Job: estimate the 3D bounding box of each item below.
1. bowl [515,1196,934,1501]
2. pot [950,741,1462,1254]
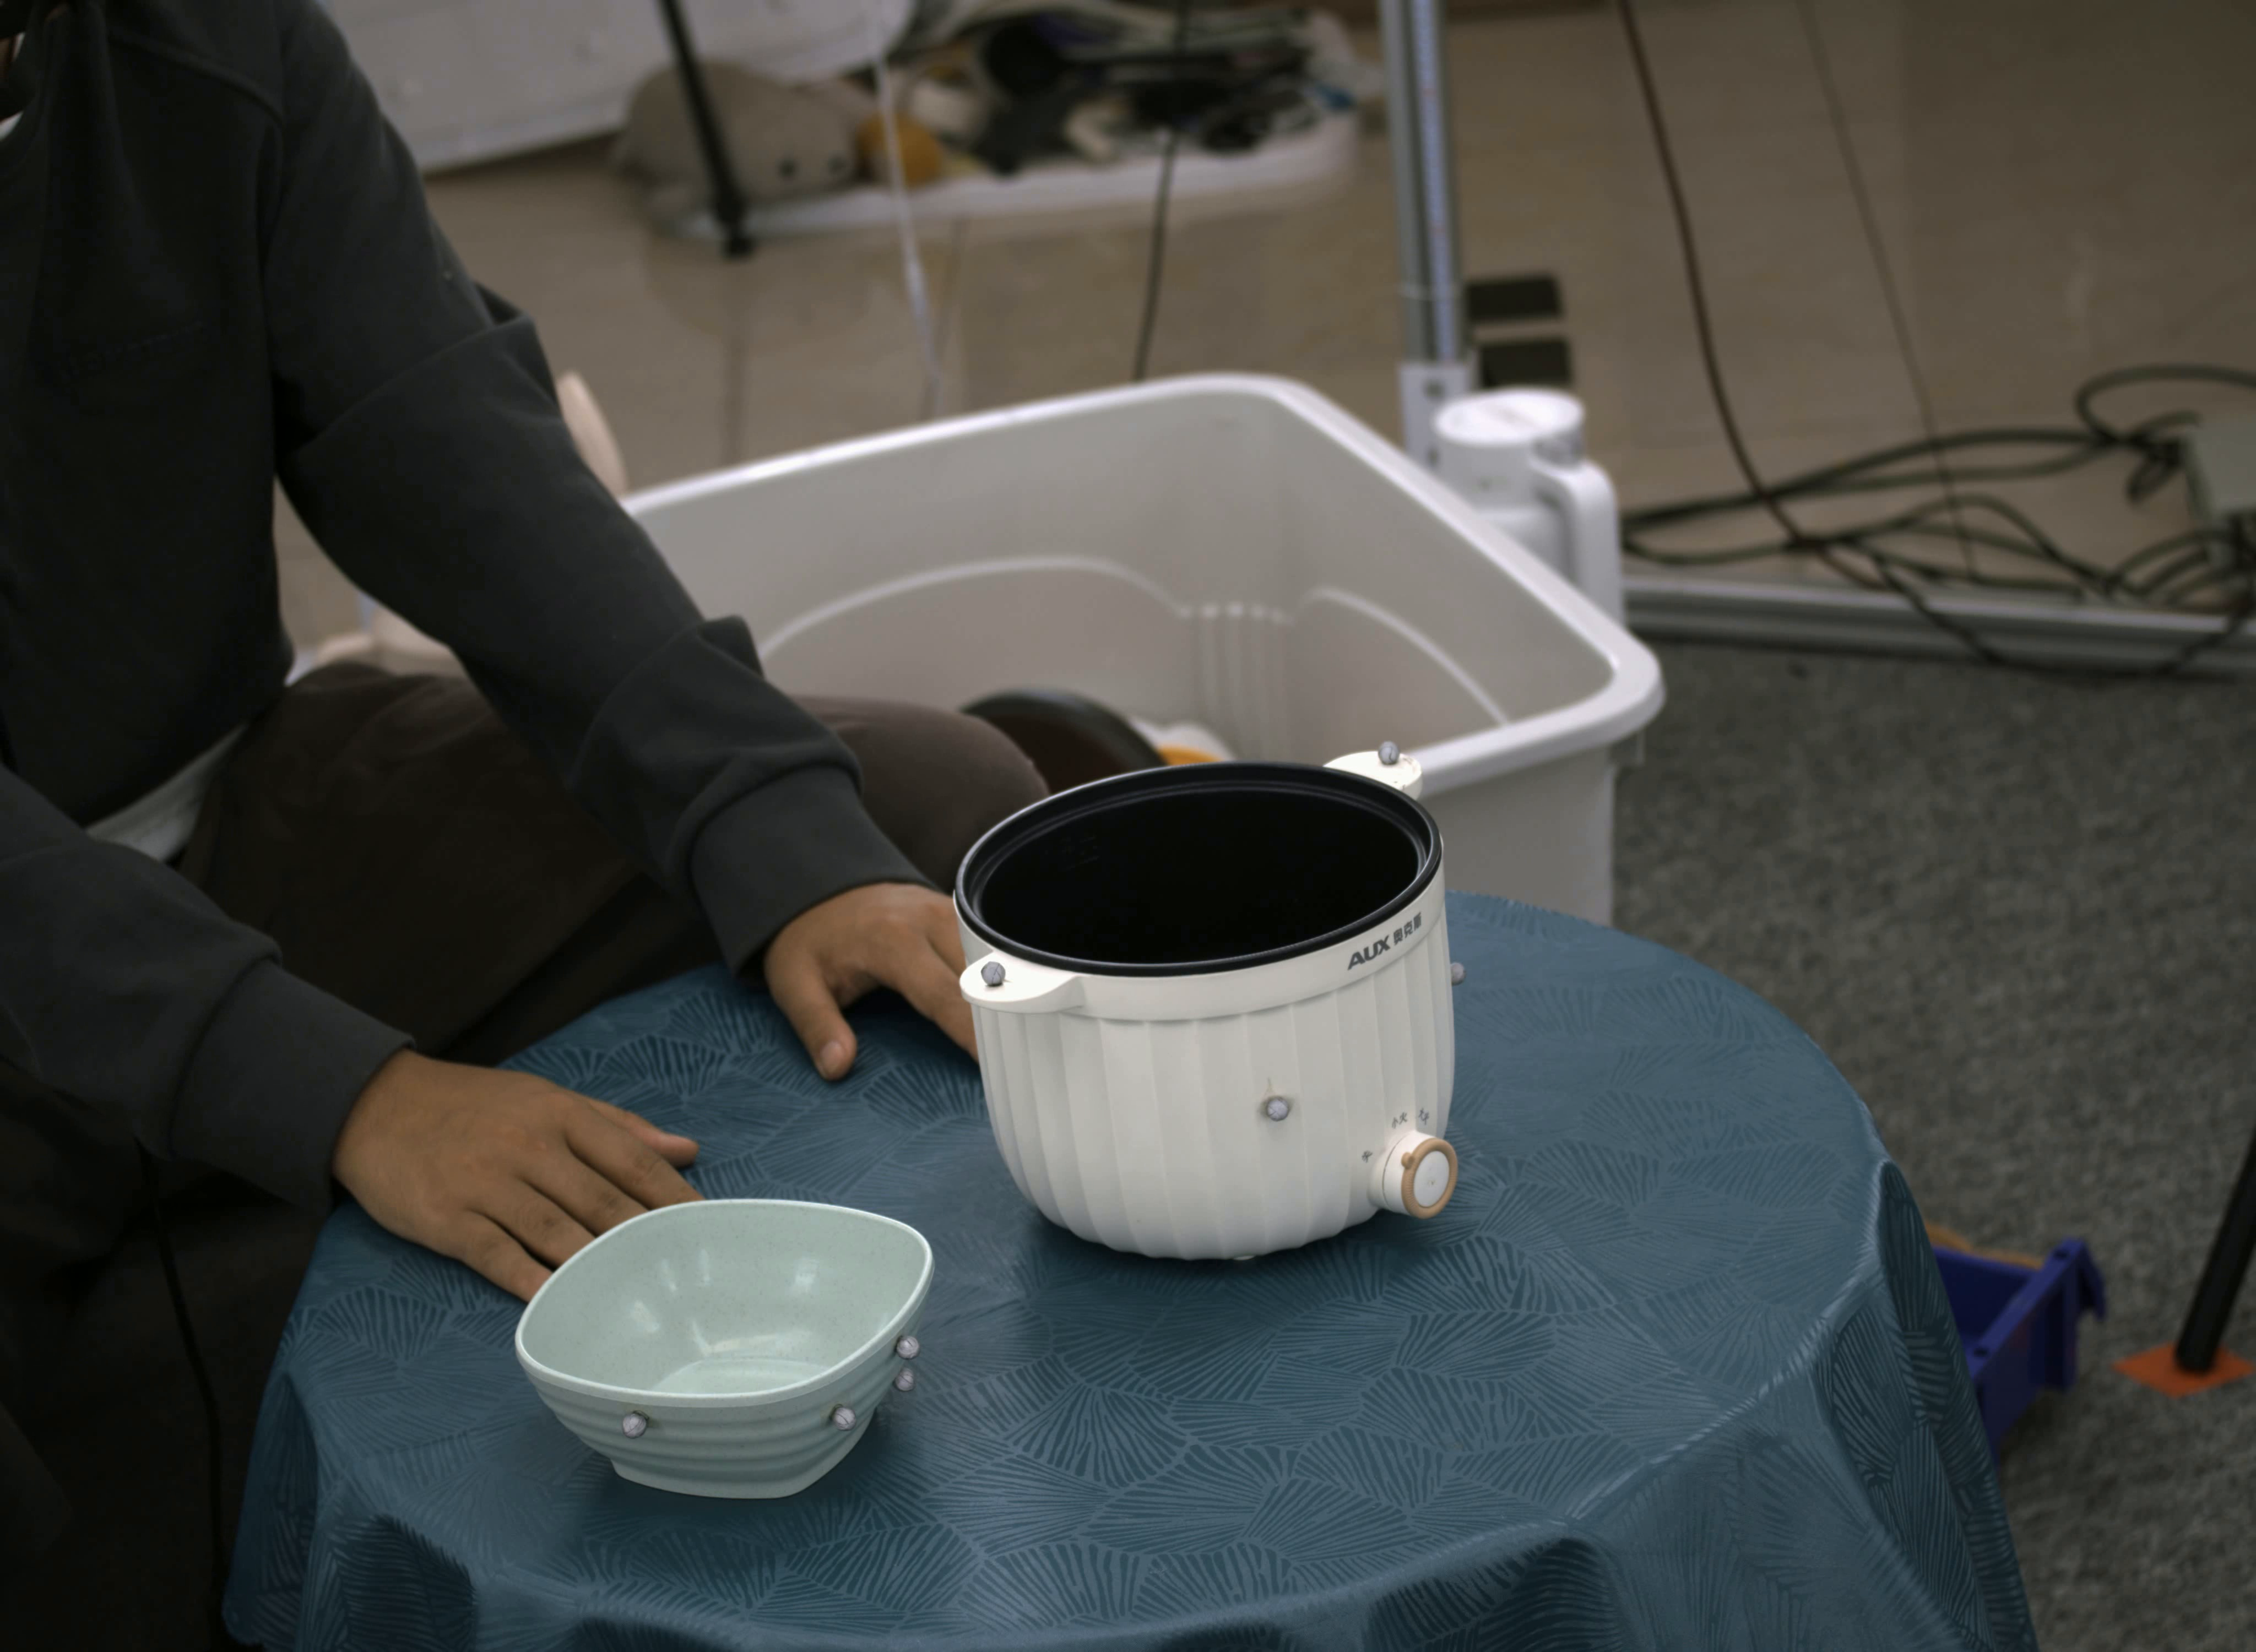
[{"bbox_3d":[-0.139,0.190,2.002,0.151,0.059,0.149,-4,26,2],"label":"bowl"},{"bbox_3d":[0.036,0.071,2.116,0.189,0.145,0.238,12,32,40],"label":"pot"}]
